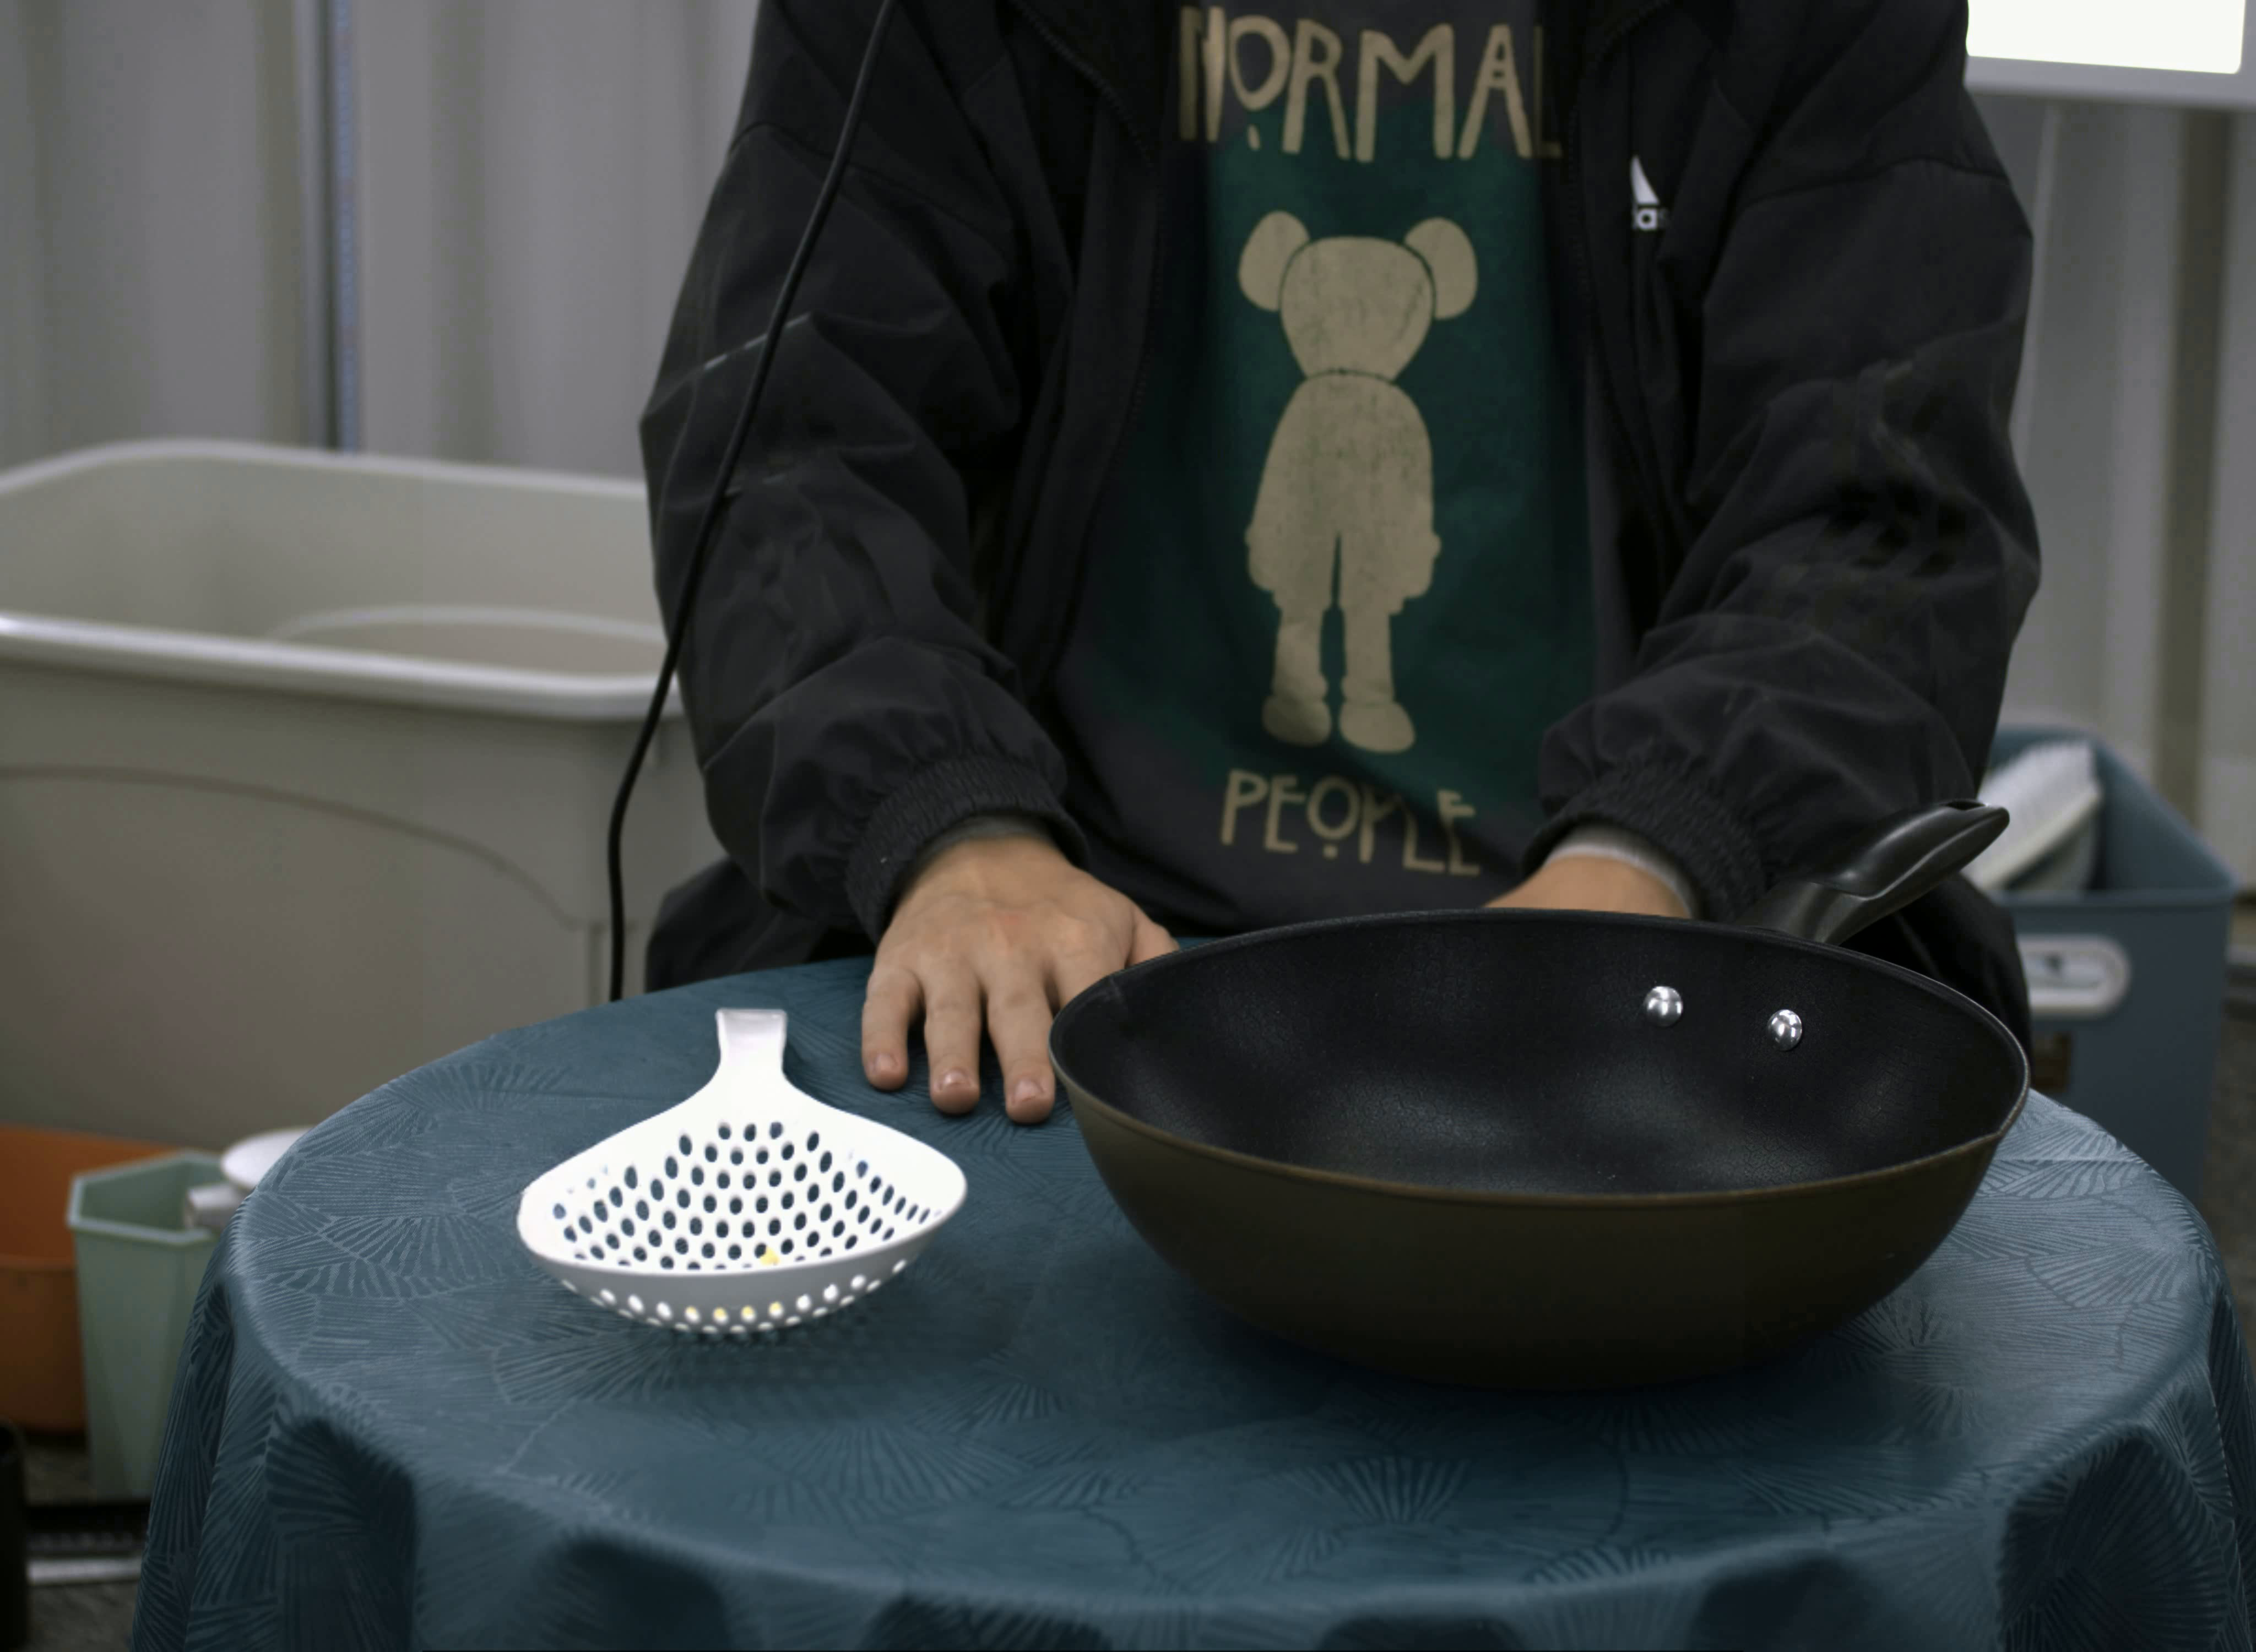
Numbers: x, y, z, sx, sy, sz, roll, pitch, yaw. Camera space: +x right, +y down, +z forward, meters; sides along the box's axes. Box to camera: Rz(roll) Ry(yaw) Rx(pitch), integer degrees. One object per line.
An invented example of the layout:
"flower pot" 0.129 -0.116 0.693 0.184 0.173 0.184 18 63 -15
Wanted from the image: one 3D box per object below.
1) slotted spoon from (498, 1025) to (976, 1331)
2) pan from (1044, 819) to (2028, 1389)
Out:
"slotted spoon" -0.116 0.093 1.612 0.136 0.051 0.346 -3 15 -2
"pan" 0.163 0.079 1.597 0.284 0.087 0.465 10 17 30
